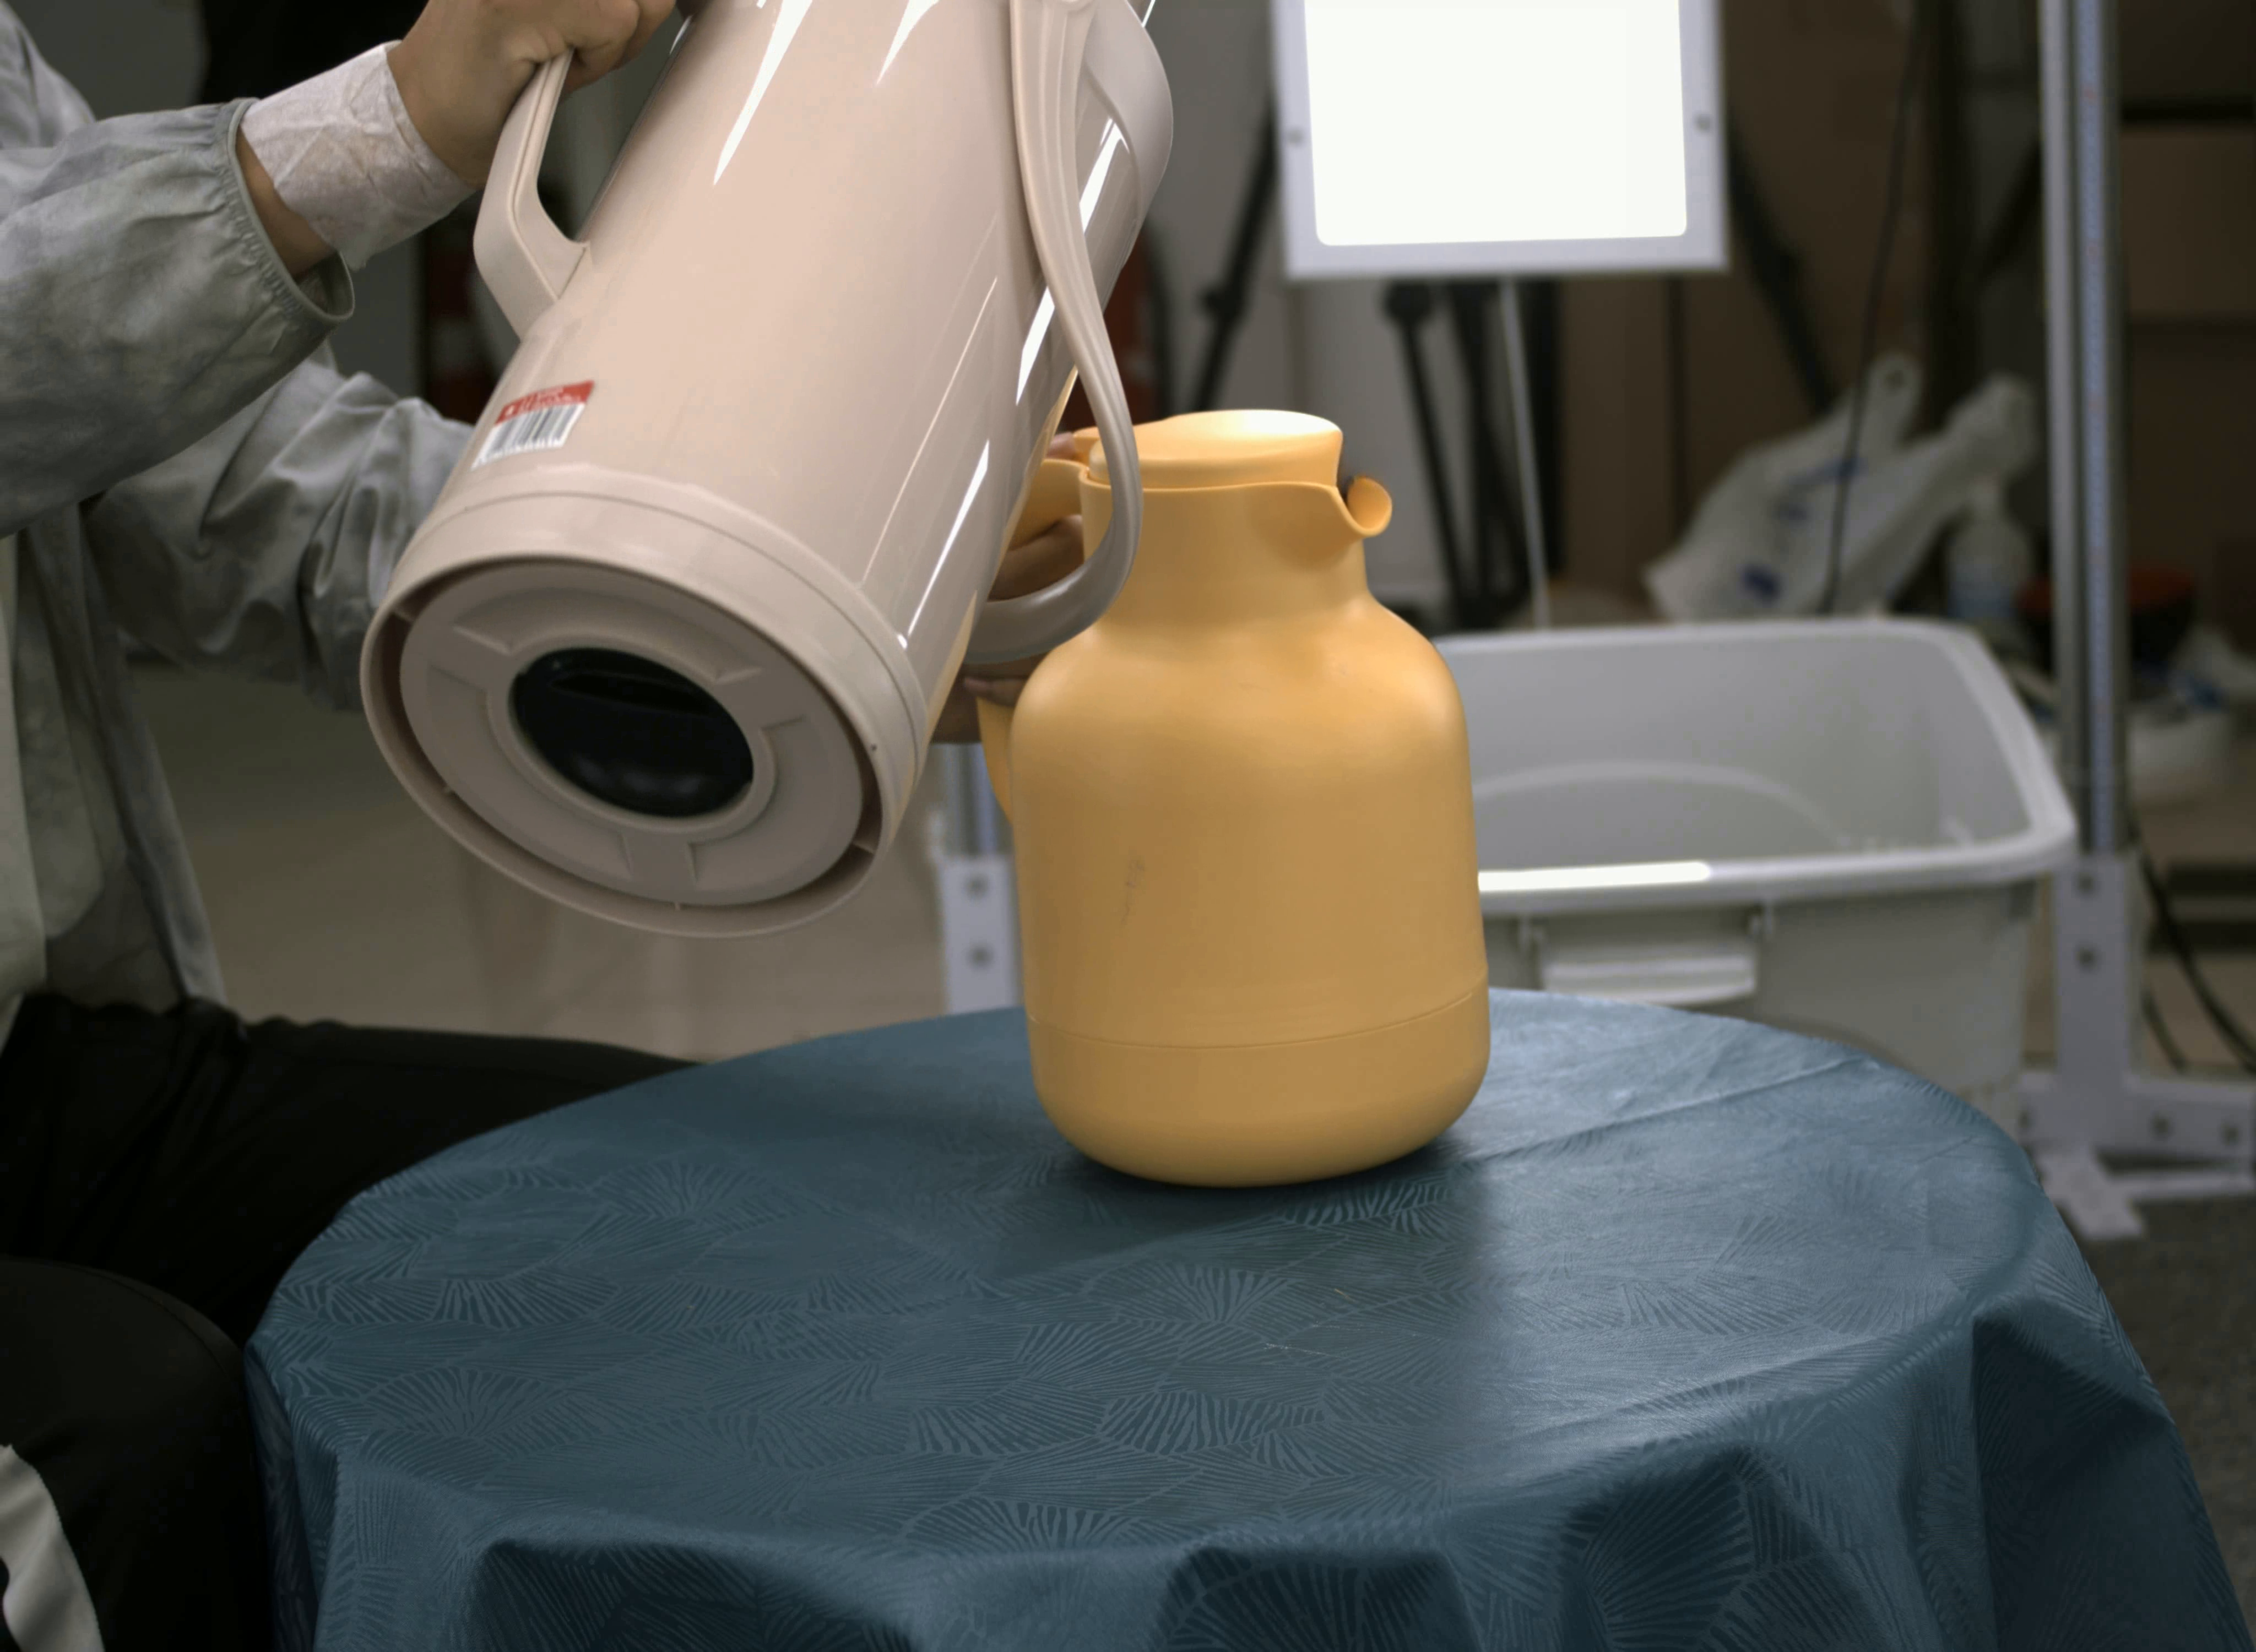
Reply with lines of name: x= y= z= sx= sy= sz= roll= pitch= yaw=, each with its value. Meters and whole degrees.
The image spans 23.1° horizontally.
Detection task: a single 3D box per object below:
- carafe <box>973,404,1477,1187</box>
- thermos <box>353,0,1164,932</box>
carafe: x=0.026 y=-0.017 z=1.924 sx=0.159 sy=0.261 sz=0.206 roll=-13 pitch=17 yaw=-39
thermos: x=-0.102 y=-0.173 z=1.664 sx=0.179 sy=0.205 sz=0.401 roll=-40 pitch=22 yaw=49
